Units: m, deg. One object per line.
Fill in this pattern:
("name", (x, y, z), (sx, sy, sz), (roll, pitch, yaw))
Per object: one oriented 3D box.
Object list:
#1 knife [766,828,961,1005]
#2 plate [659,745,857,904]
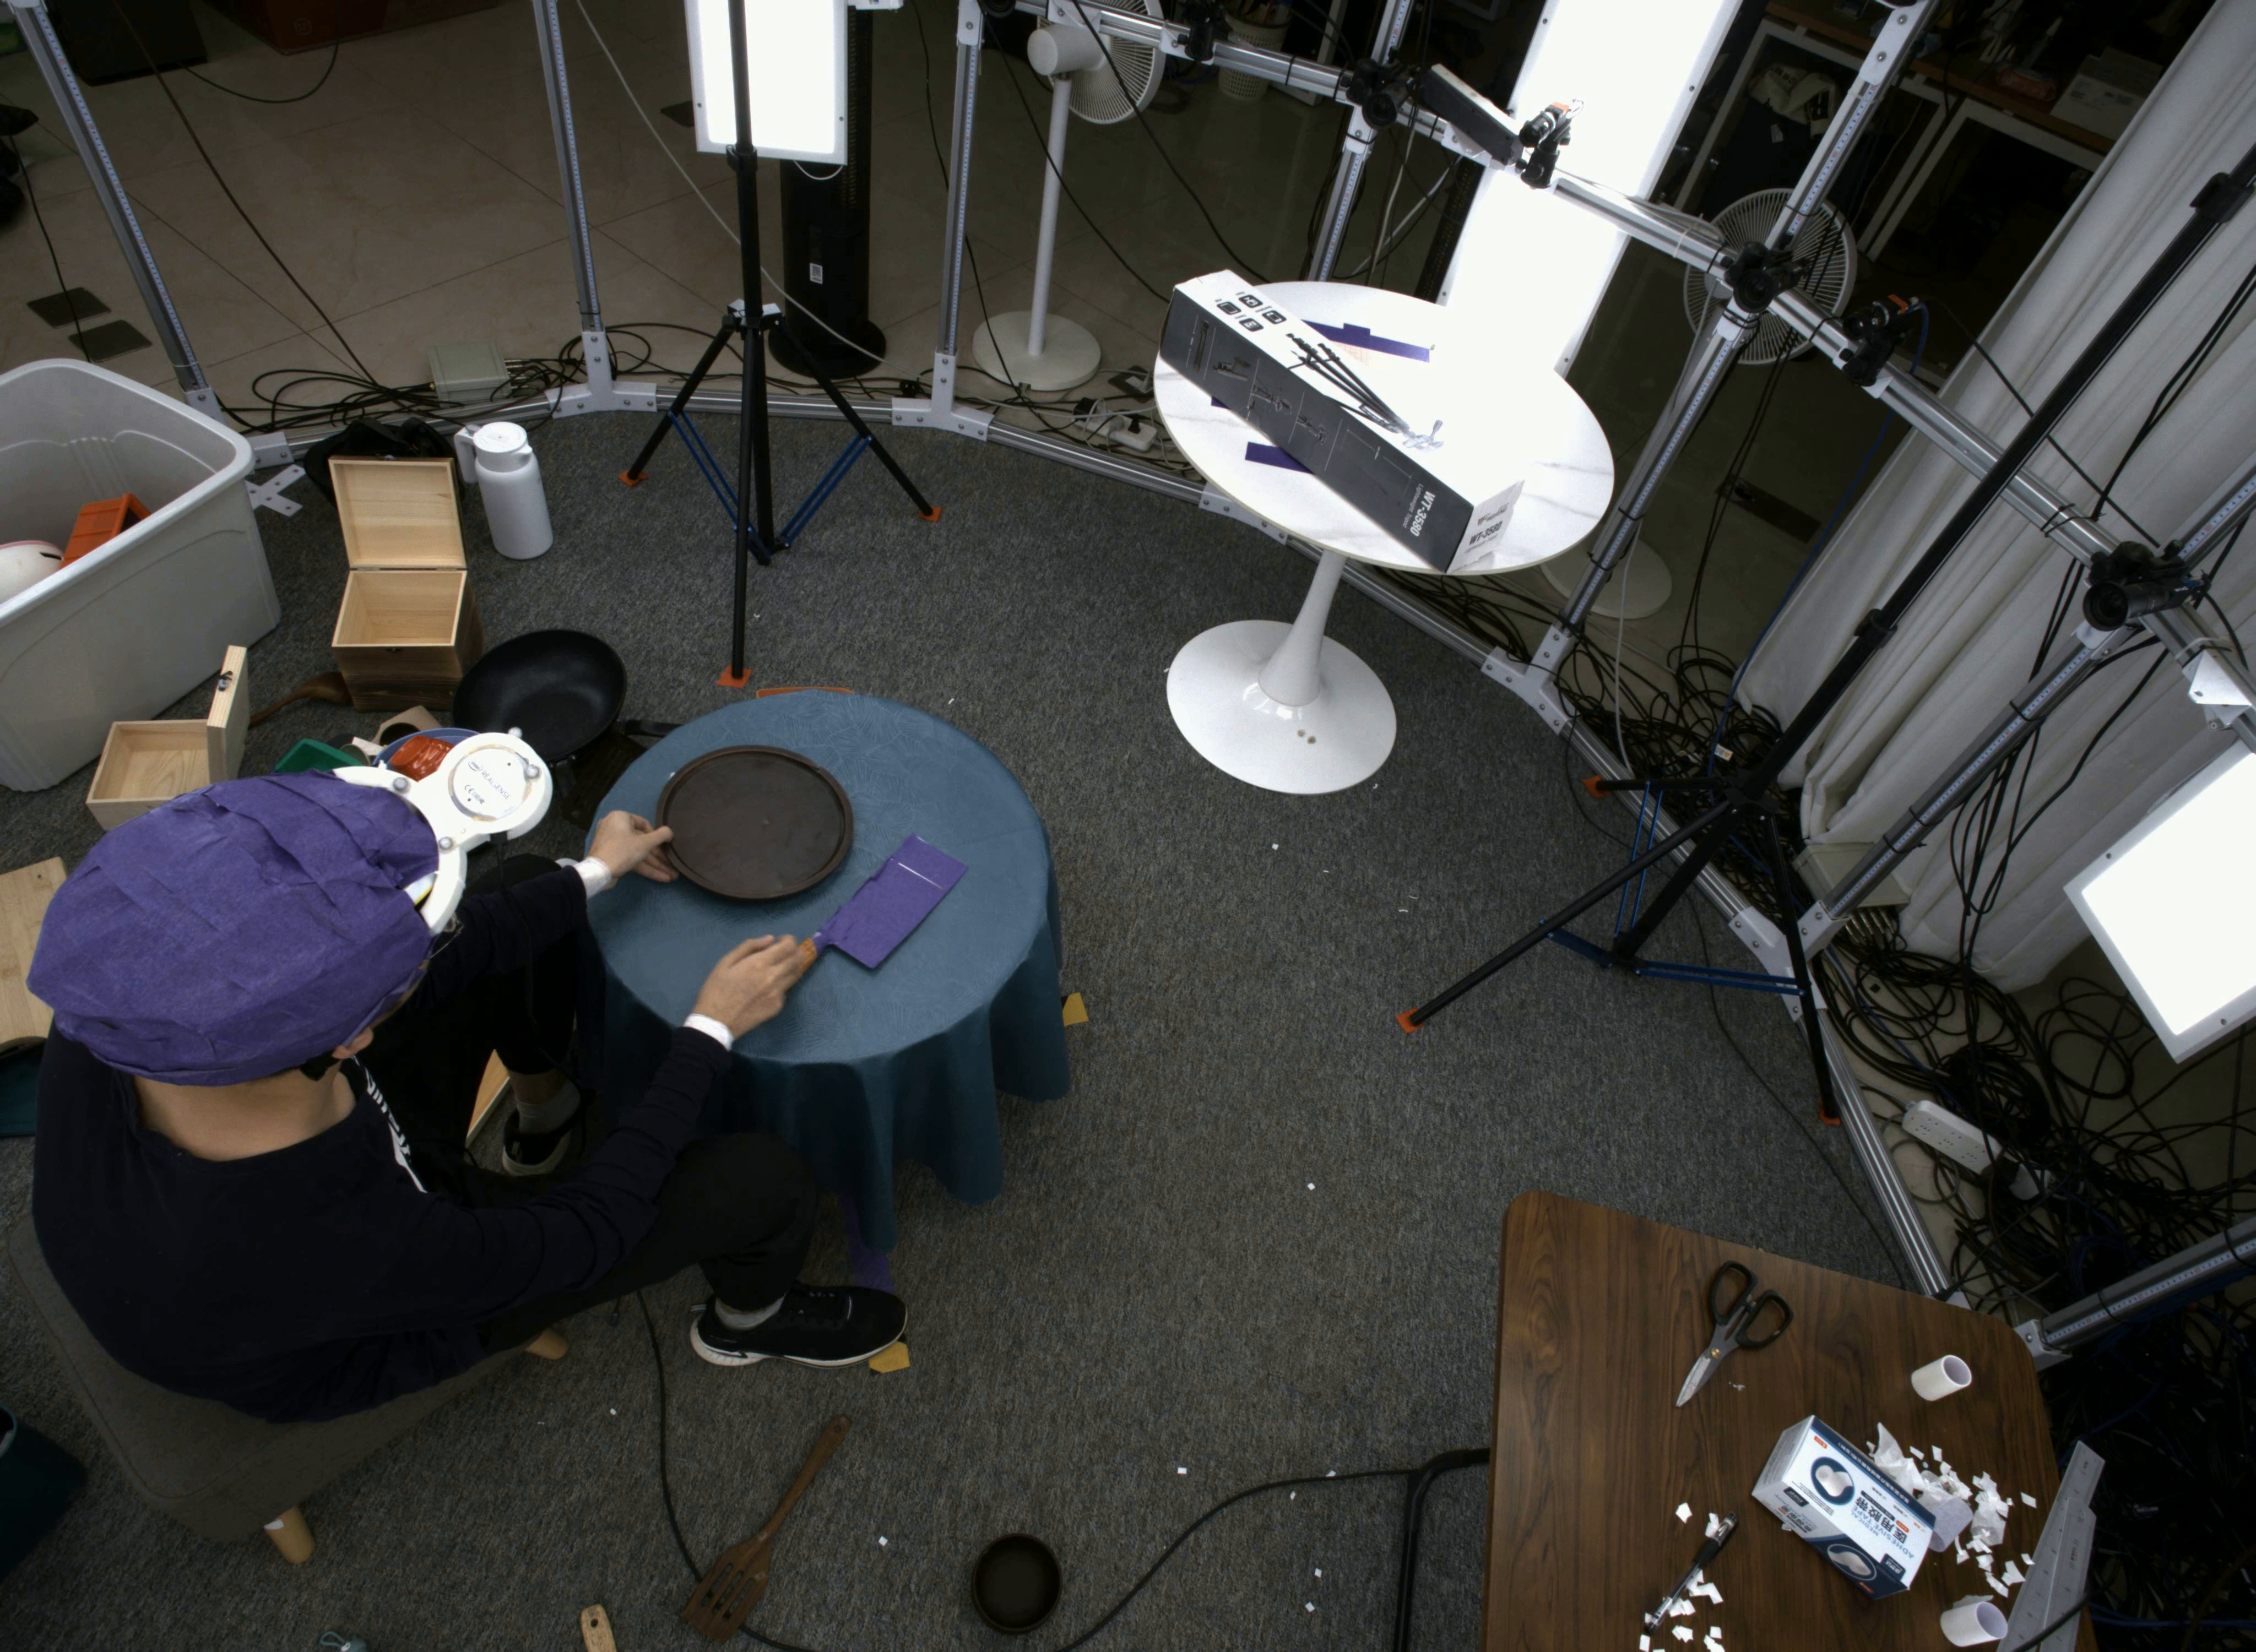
("knife", (-0.327, 0.120, 1.654), (0.102, 0.033, 0.314), (30, 52, 10))
("plate", (-0.484, -0.005, 1.697), (0.255, 0.029, 0.250), (11, 50, -12))
